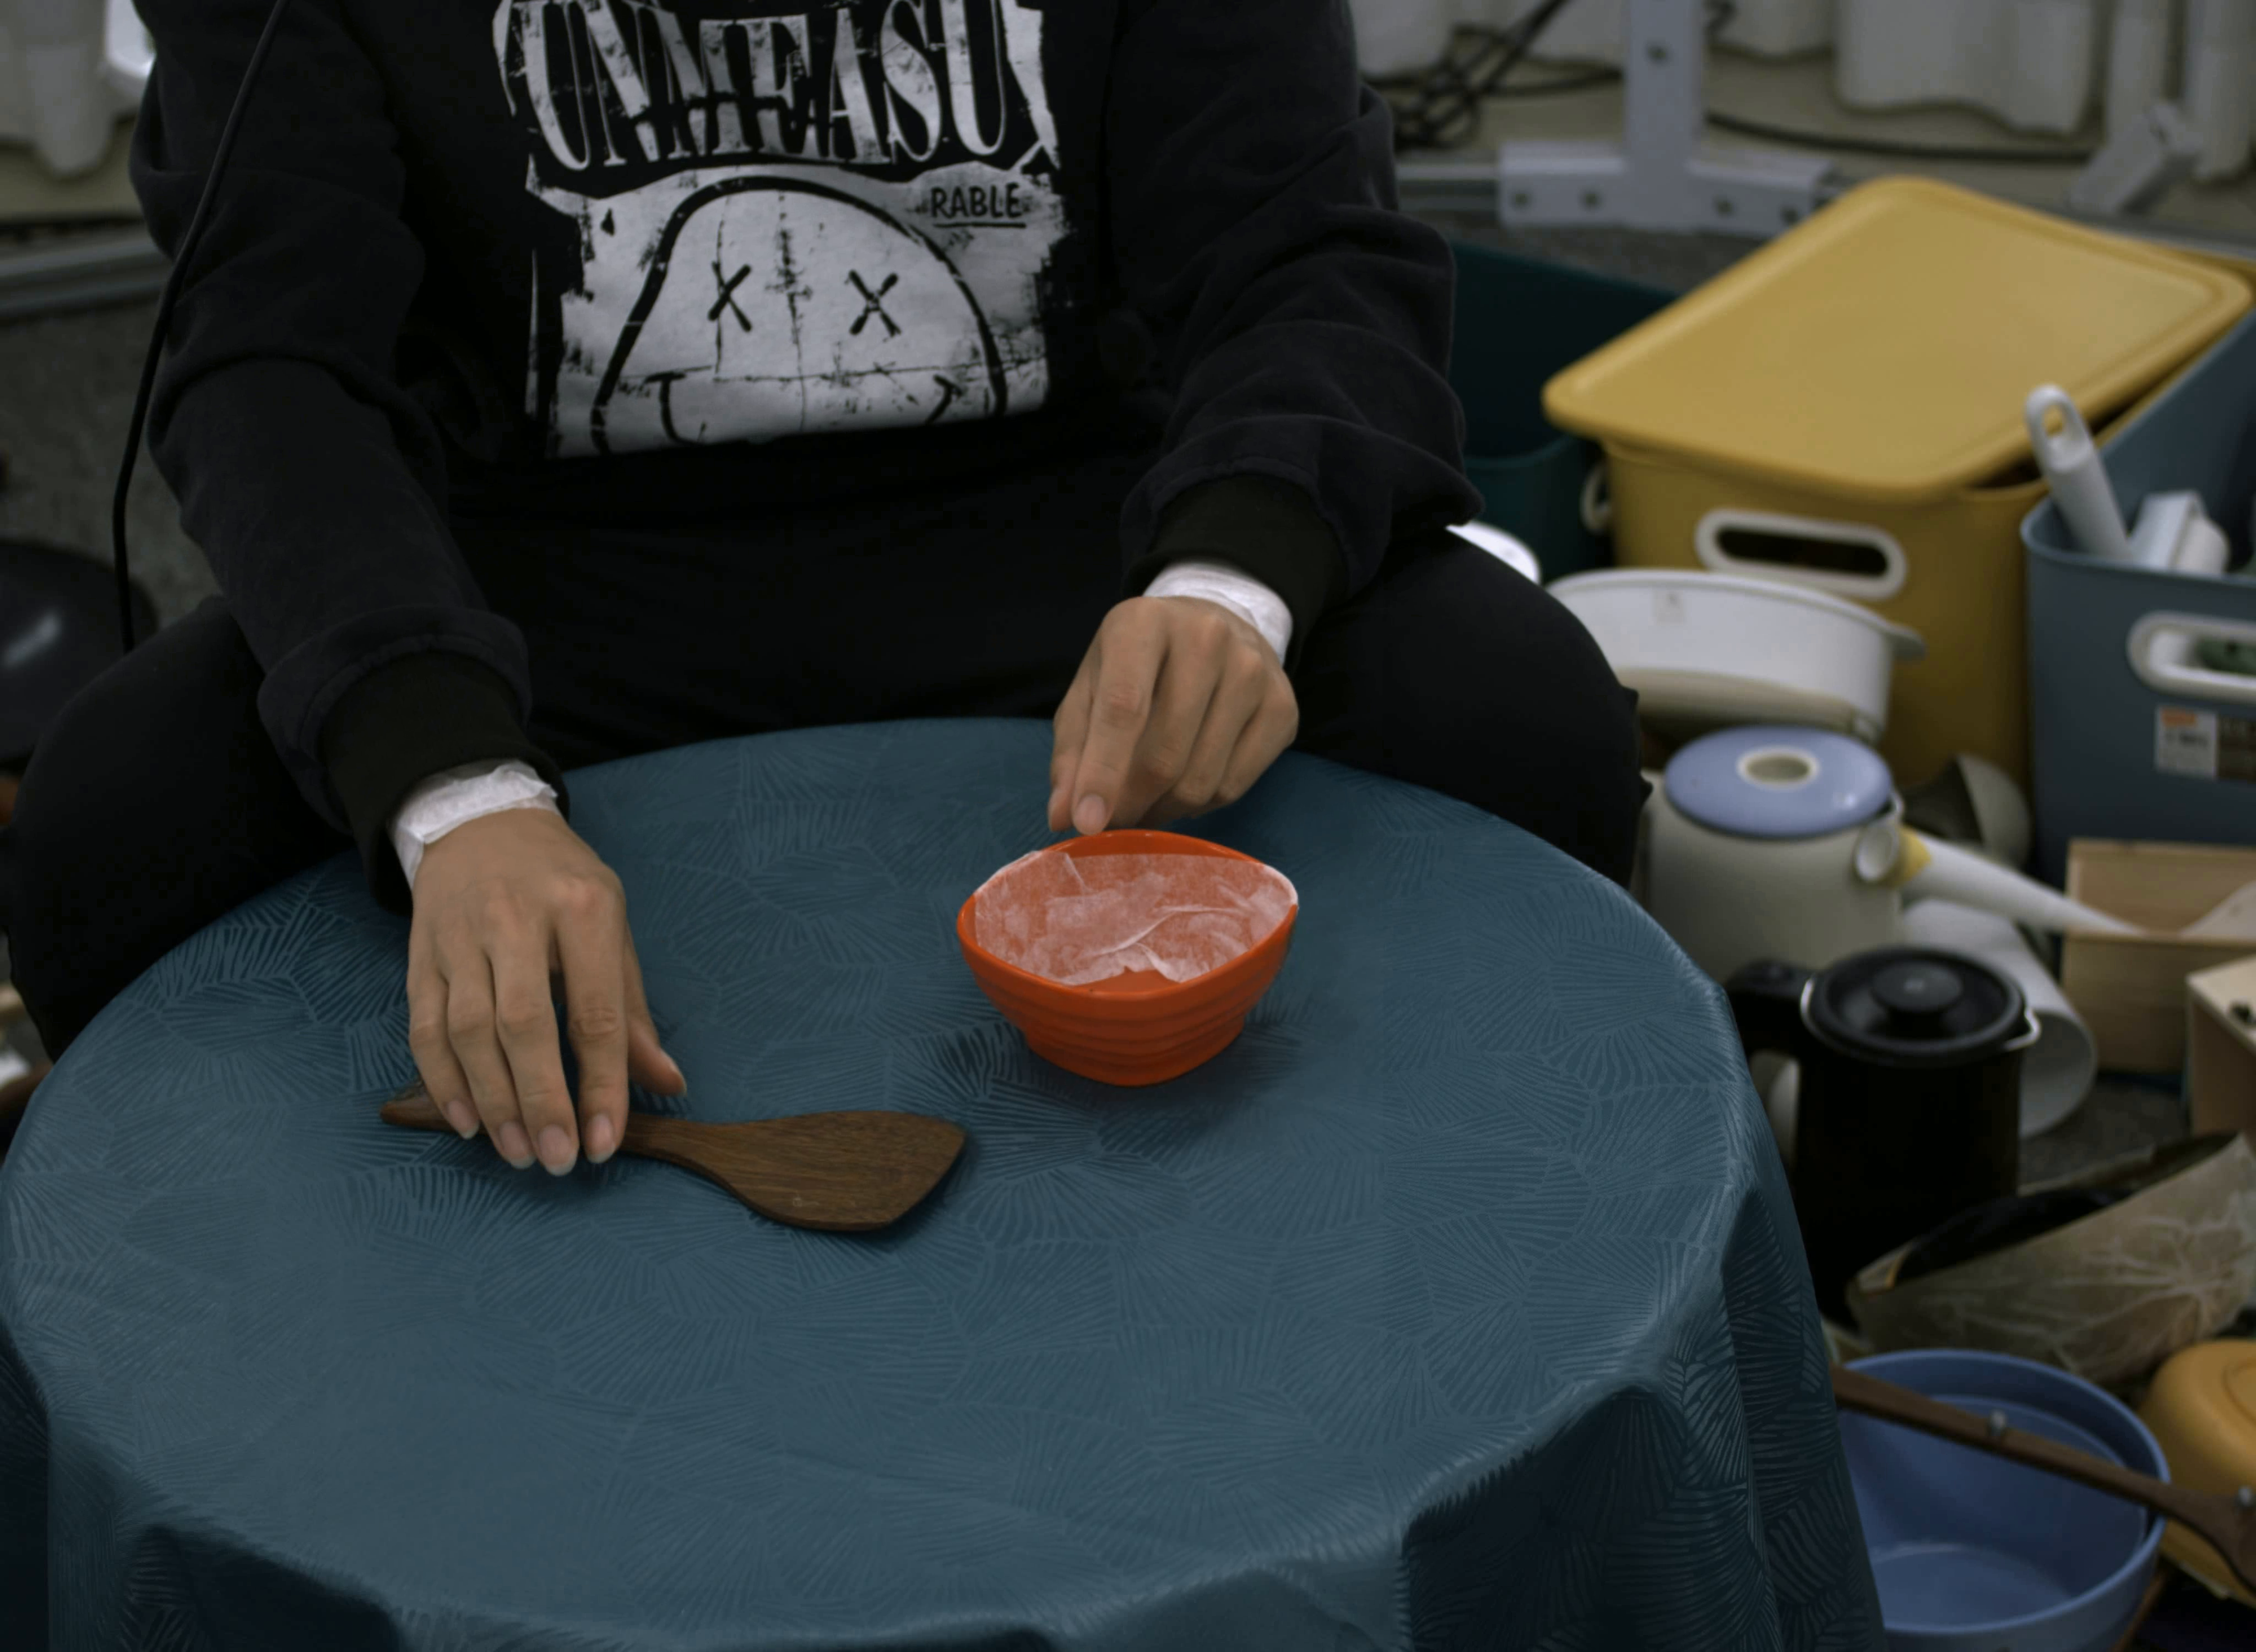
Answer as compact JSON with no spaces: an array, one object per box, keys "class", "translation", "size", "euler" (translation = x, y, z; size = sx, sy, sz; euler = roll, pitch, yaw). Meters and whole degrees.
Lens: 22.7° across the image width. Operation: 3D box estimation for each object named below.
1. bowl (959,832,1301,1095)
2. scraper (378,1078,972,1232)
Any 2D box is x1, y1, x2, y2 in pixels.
[{"class":"bowl","translation":[0.002,0.052,1.944],"size":[0.118,0.051,0.121],"euler":[-3,28,2]},{"class":"scraper","translation":[-0.157,0.107,1.897],"size":[0.210,0.011,0.077],"euler":[7,28,20]}]
